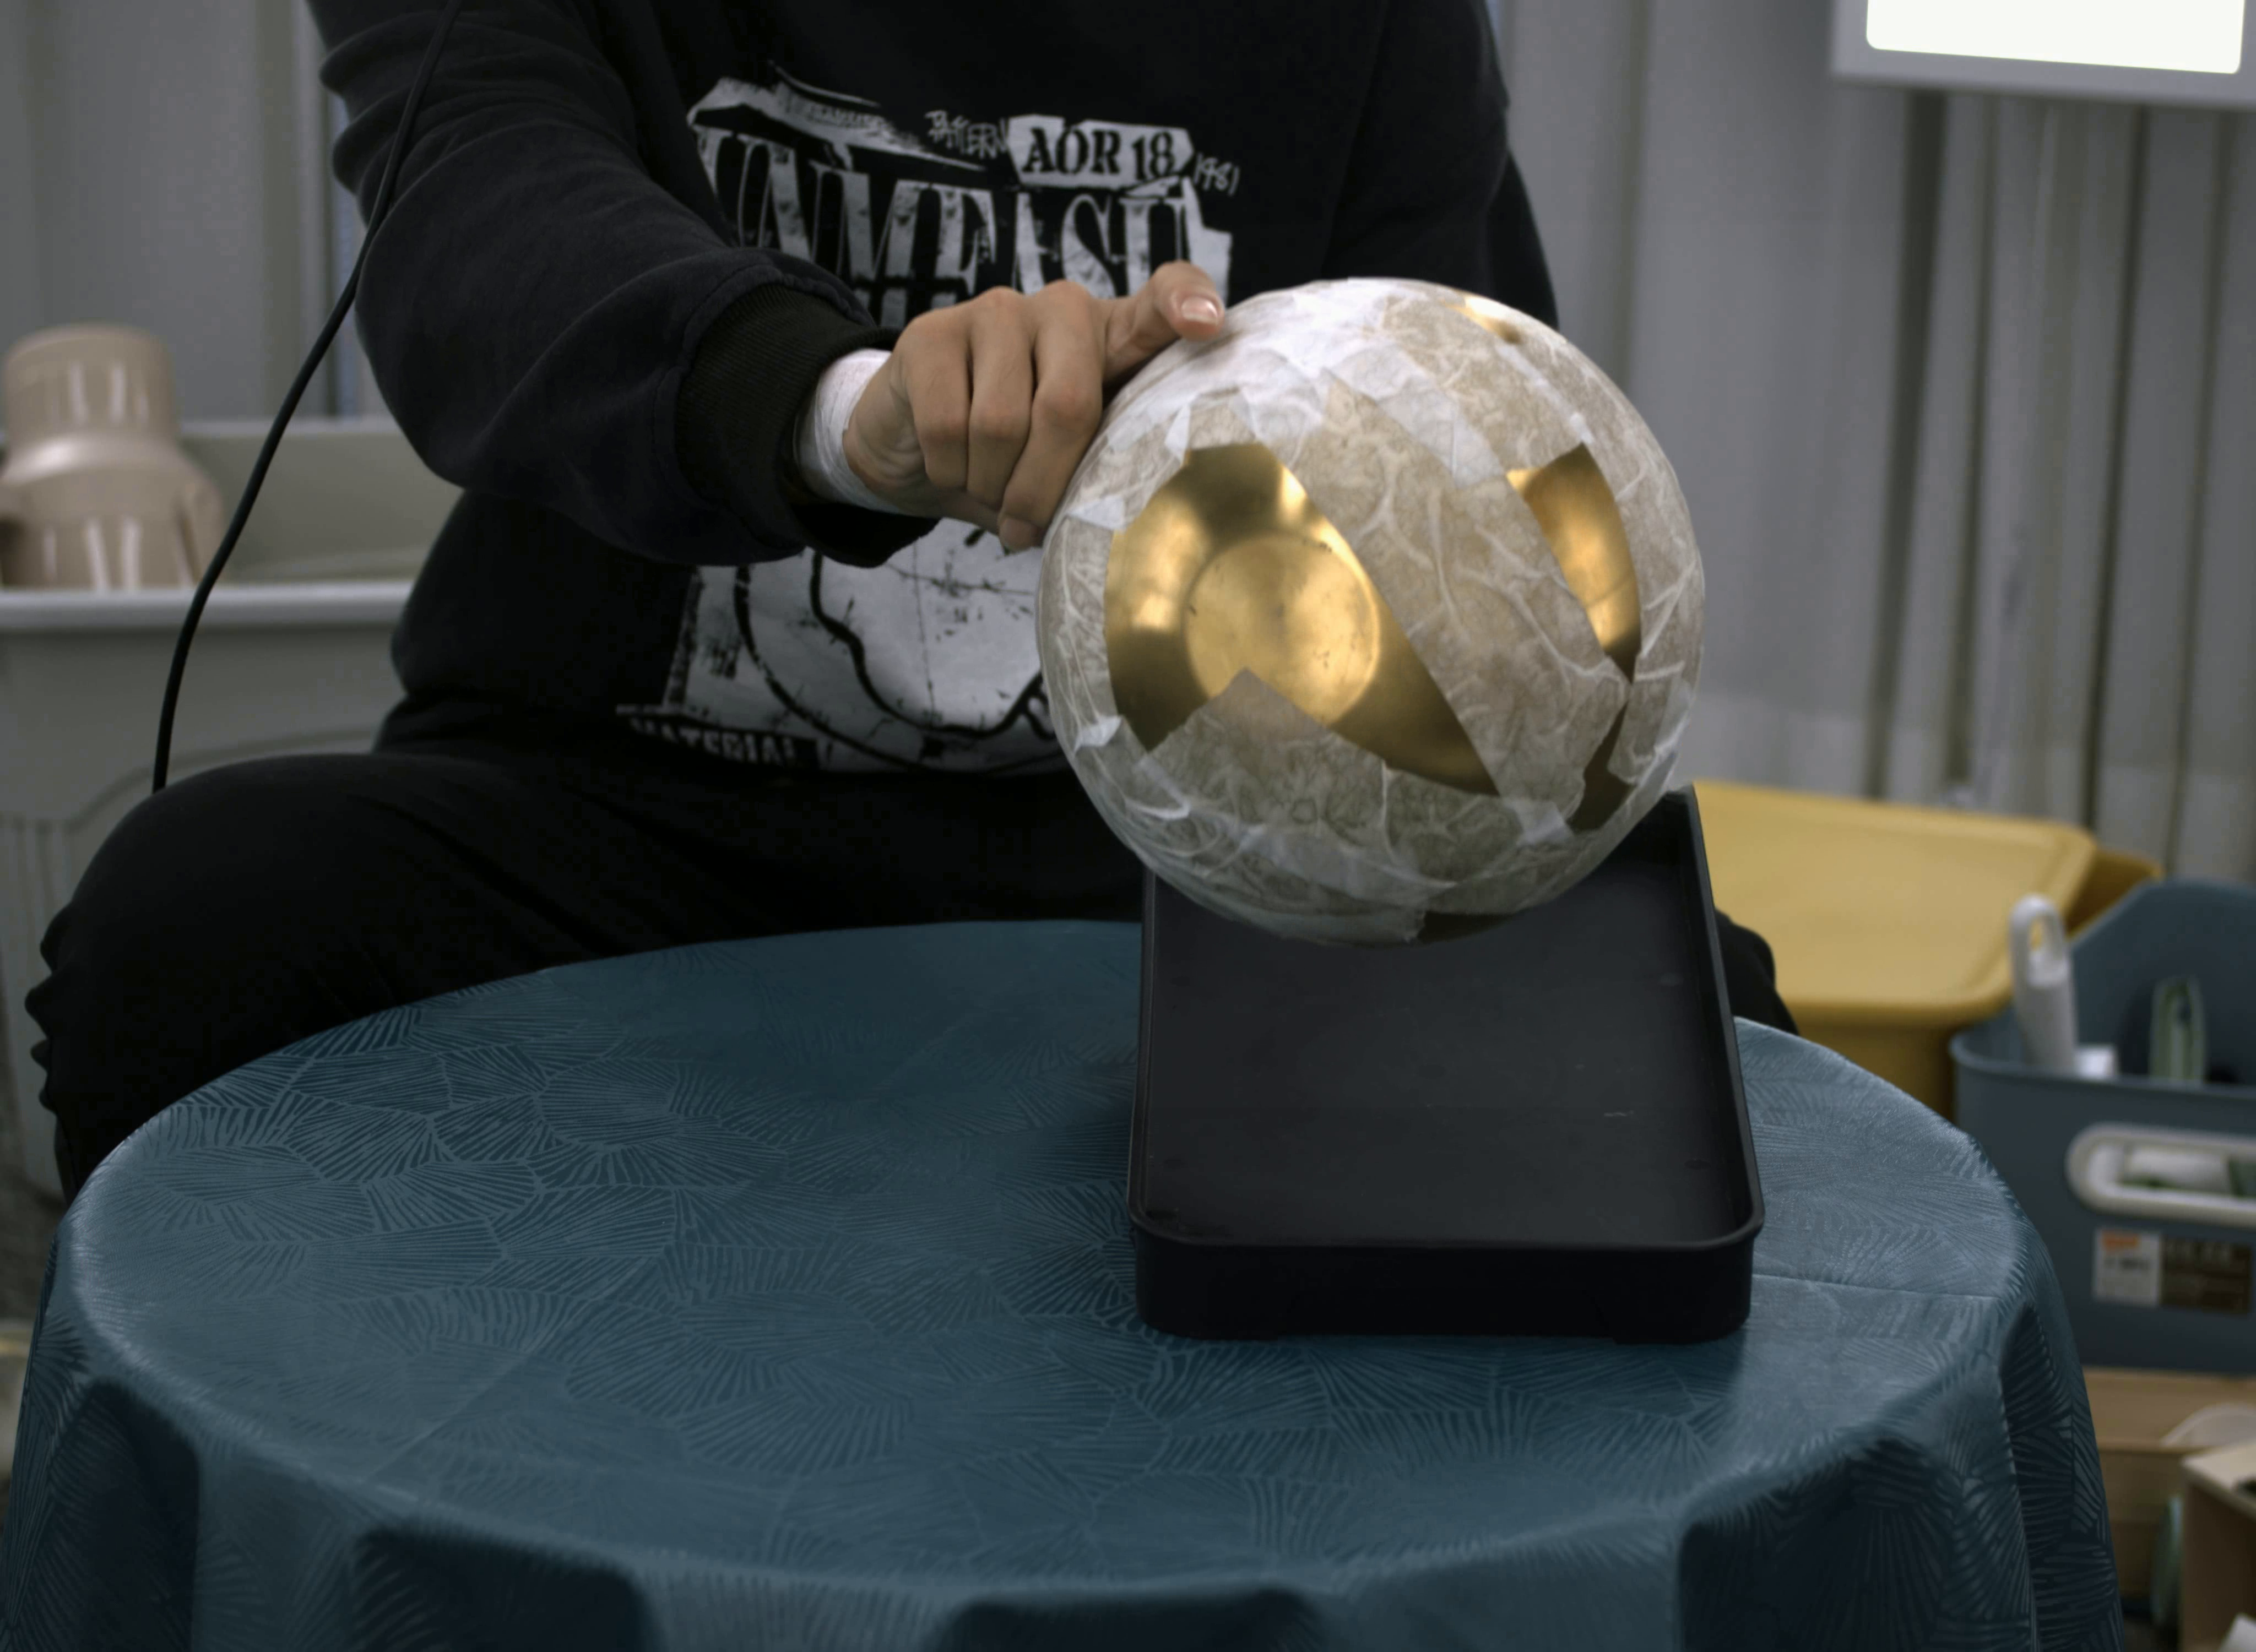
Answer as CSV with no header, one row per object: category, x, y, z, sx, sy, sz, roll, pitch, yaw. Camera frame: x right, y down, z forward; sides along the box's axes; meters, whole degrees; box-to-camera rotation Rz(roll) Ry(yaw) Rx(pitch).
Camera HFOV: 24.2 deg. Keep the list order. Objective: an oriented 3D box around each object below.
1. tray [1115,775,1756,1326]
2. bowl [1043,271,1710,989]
tray,0.094,0.062,1.633,0.183,0.037,0.316,0,25,3
bowl,0.056,-0.054,1.525,0.212,0.216,0.095,7,10,20
